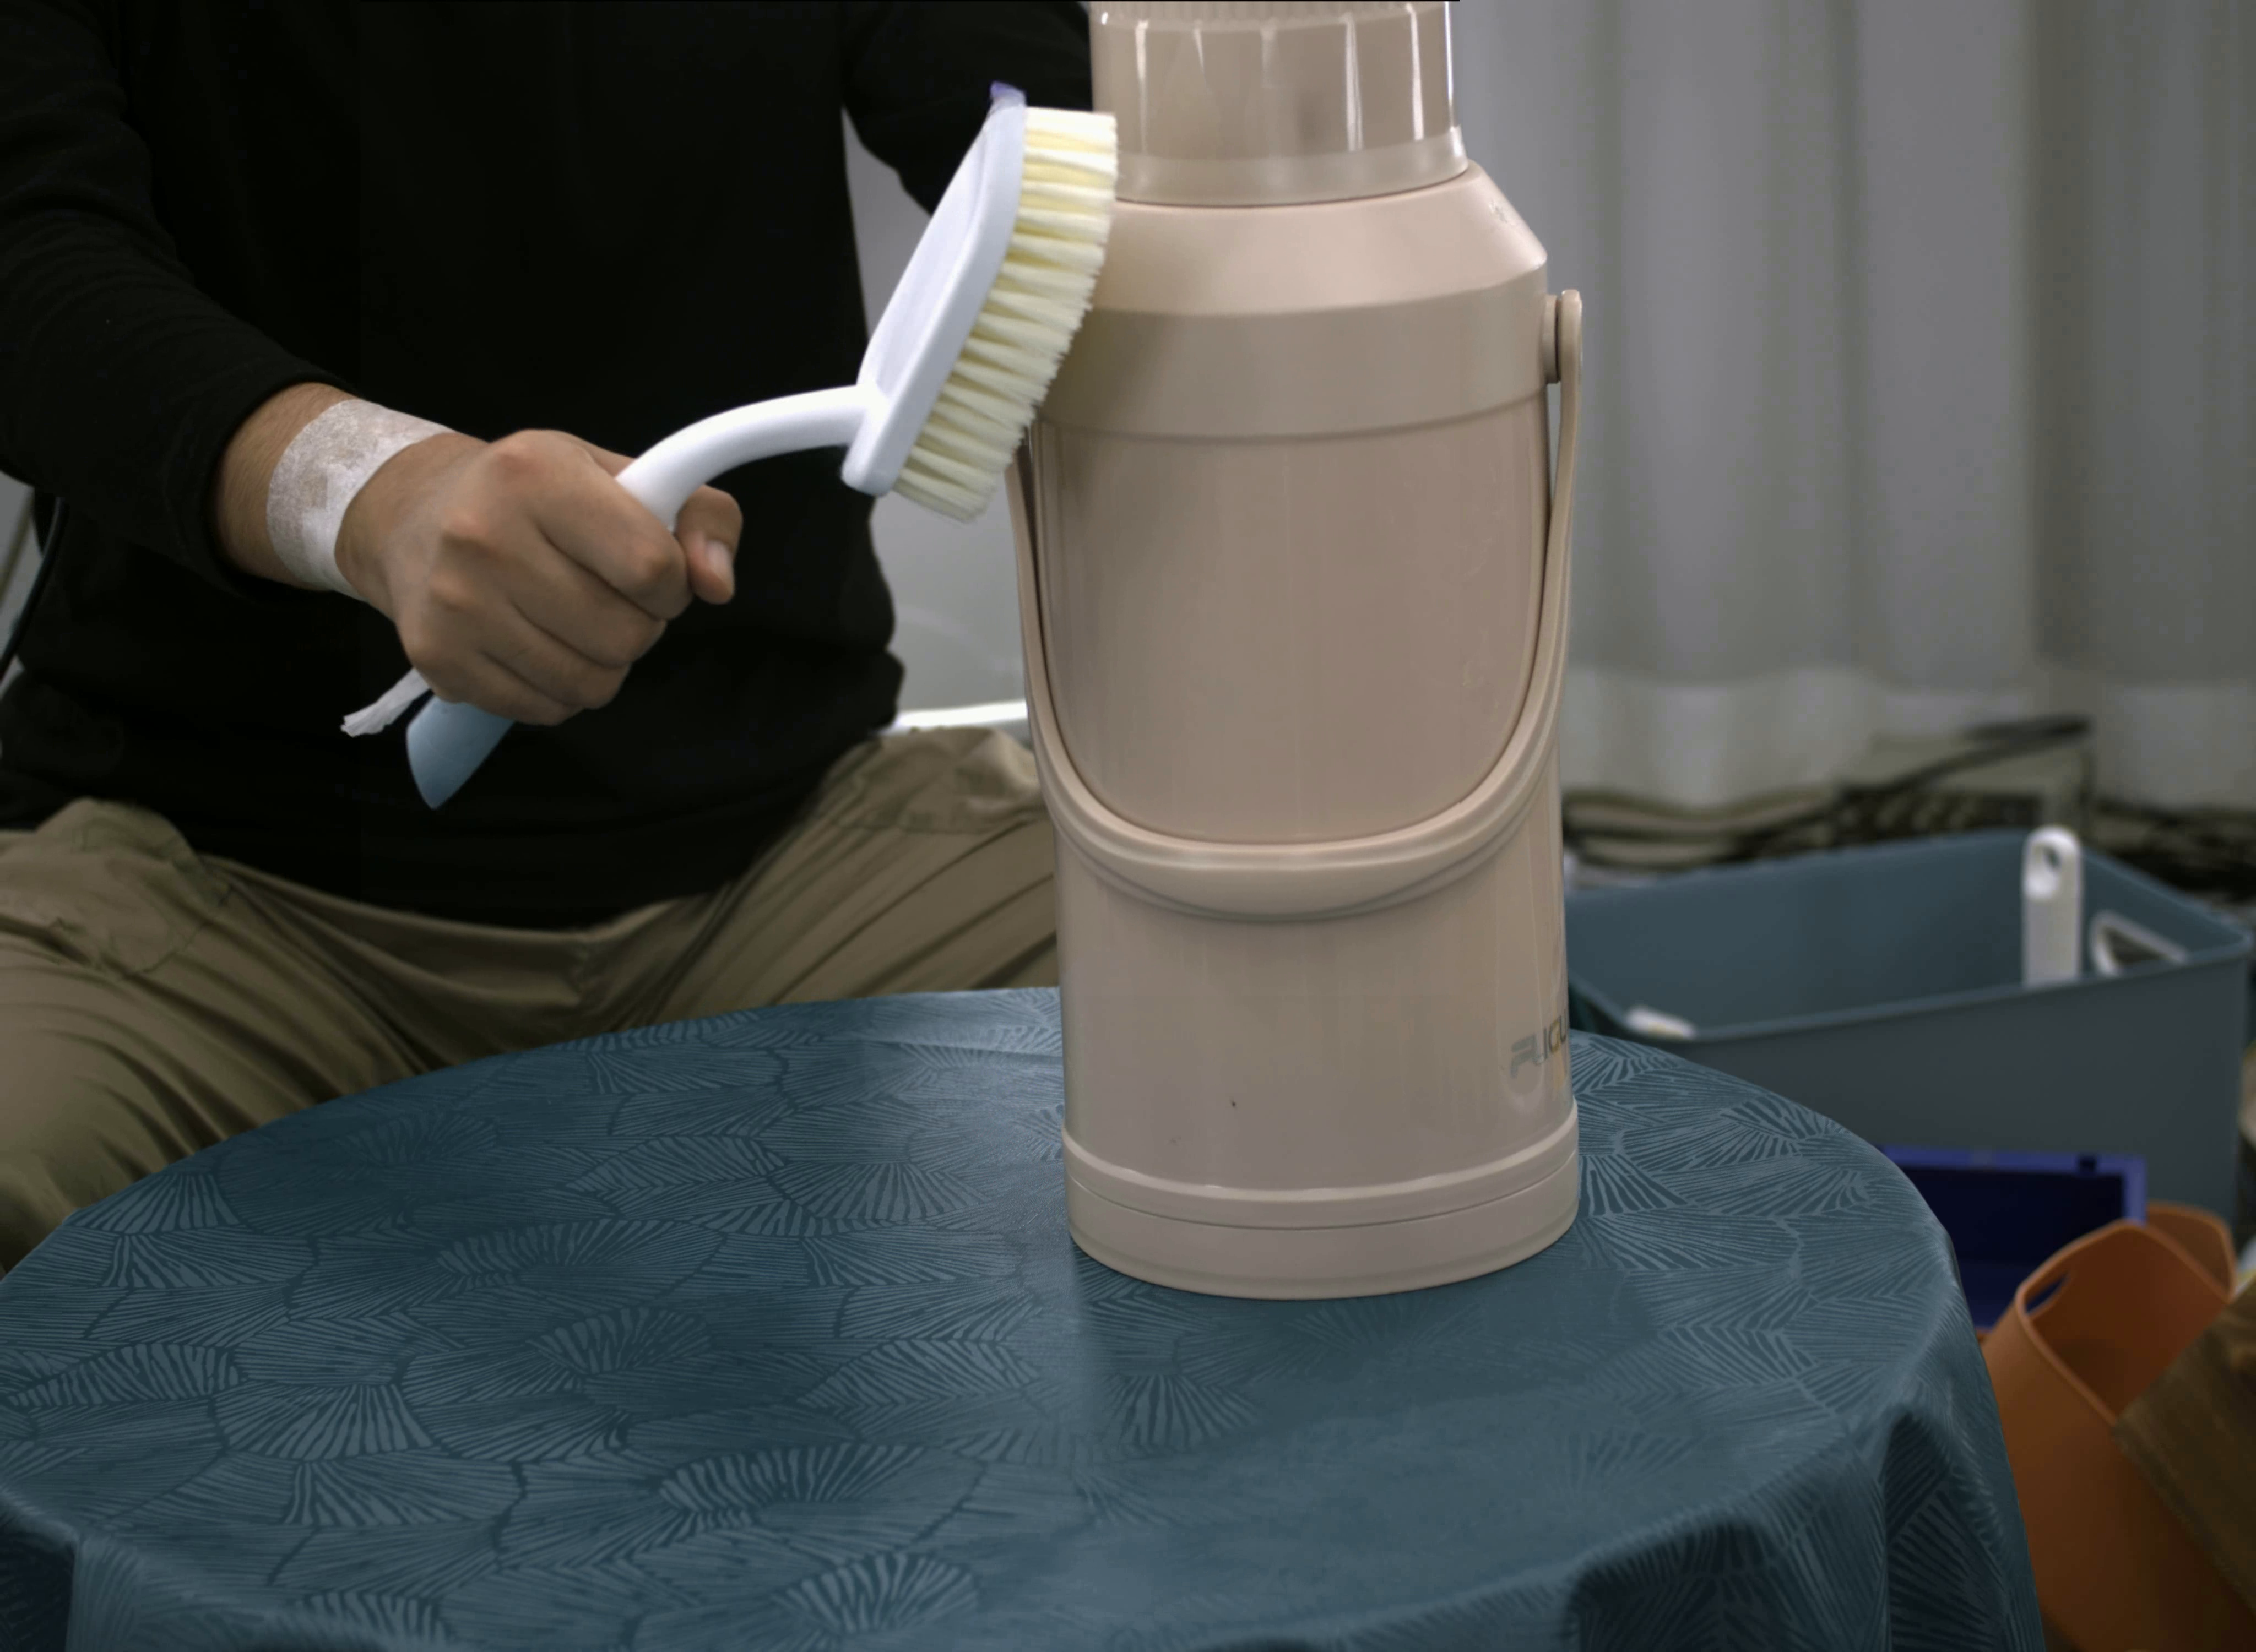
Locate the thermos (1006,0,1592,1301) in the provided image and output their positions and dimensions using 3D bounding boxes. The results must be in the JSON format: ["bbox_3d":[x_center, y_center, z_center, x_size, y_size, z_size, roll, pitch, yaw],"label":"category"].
[{"bbox_3d":[0.056,-0.076,1.652,0.175,0.405,0.208,-2,14,8],"label":"thermos"}]

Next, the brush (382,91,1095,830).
[{"bbox_3d":[-0.102,-0.091,1.613,0.323,0.085,0.083,-46,-12,31],"label":"brush"}]
